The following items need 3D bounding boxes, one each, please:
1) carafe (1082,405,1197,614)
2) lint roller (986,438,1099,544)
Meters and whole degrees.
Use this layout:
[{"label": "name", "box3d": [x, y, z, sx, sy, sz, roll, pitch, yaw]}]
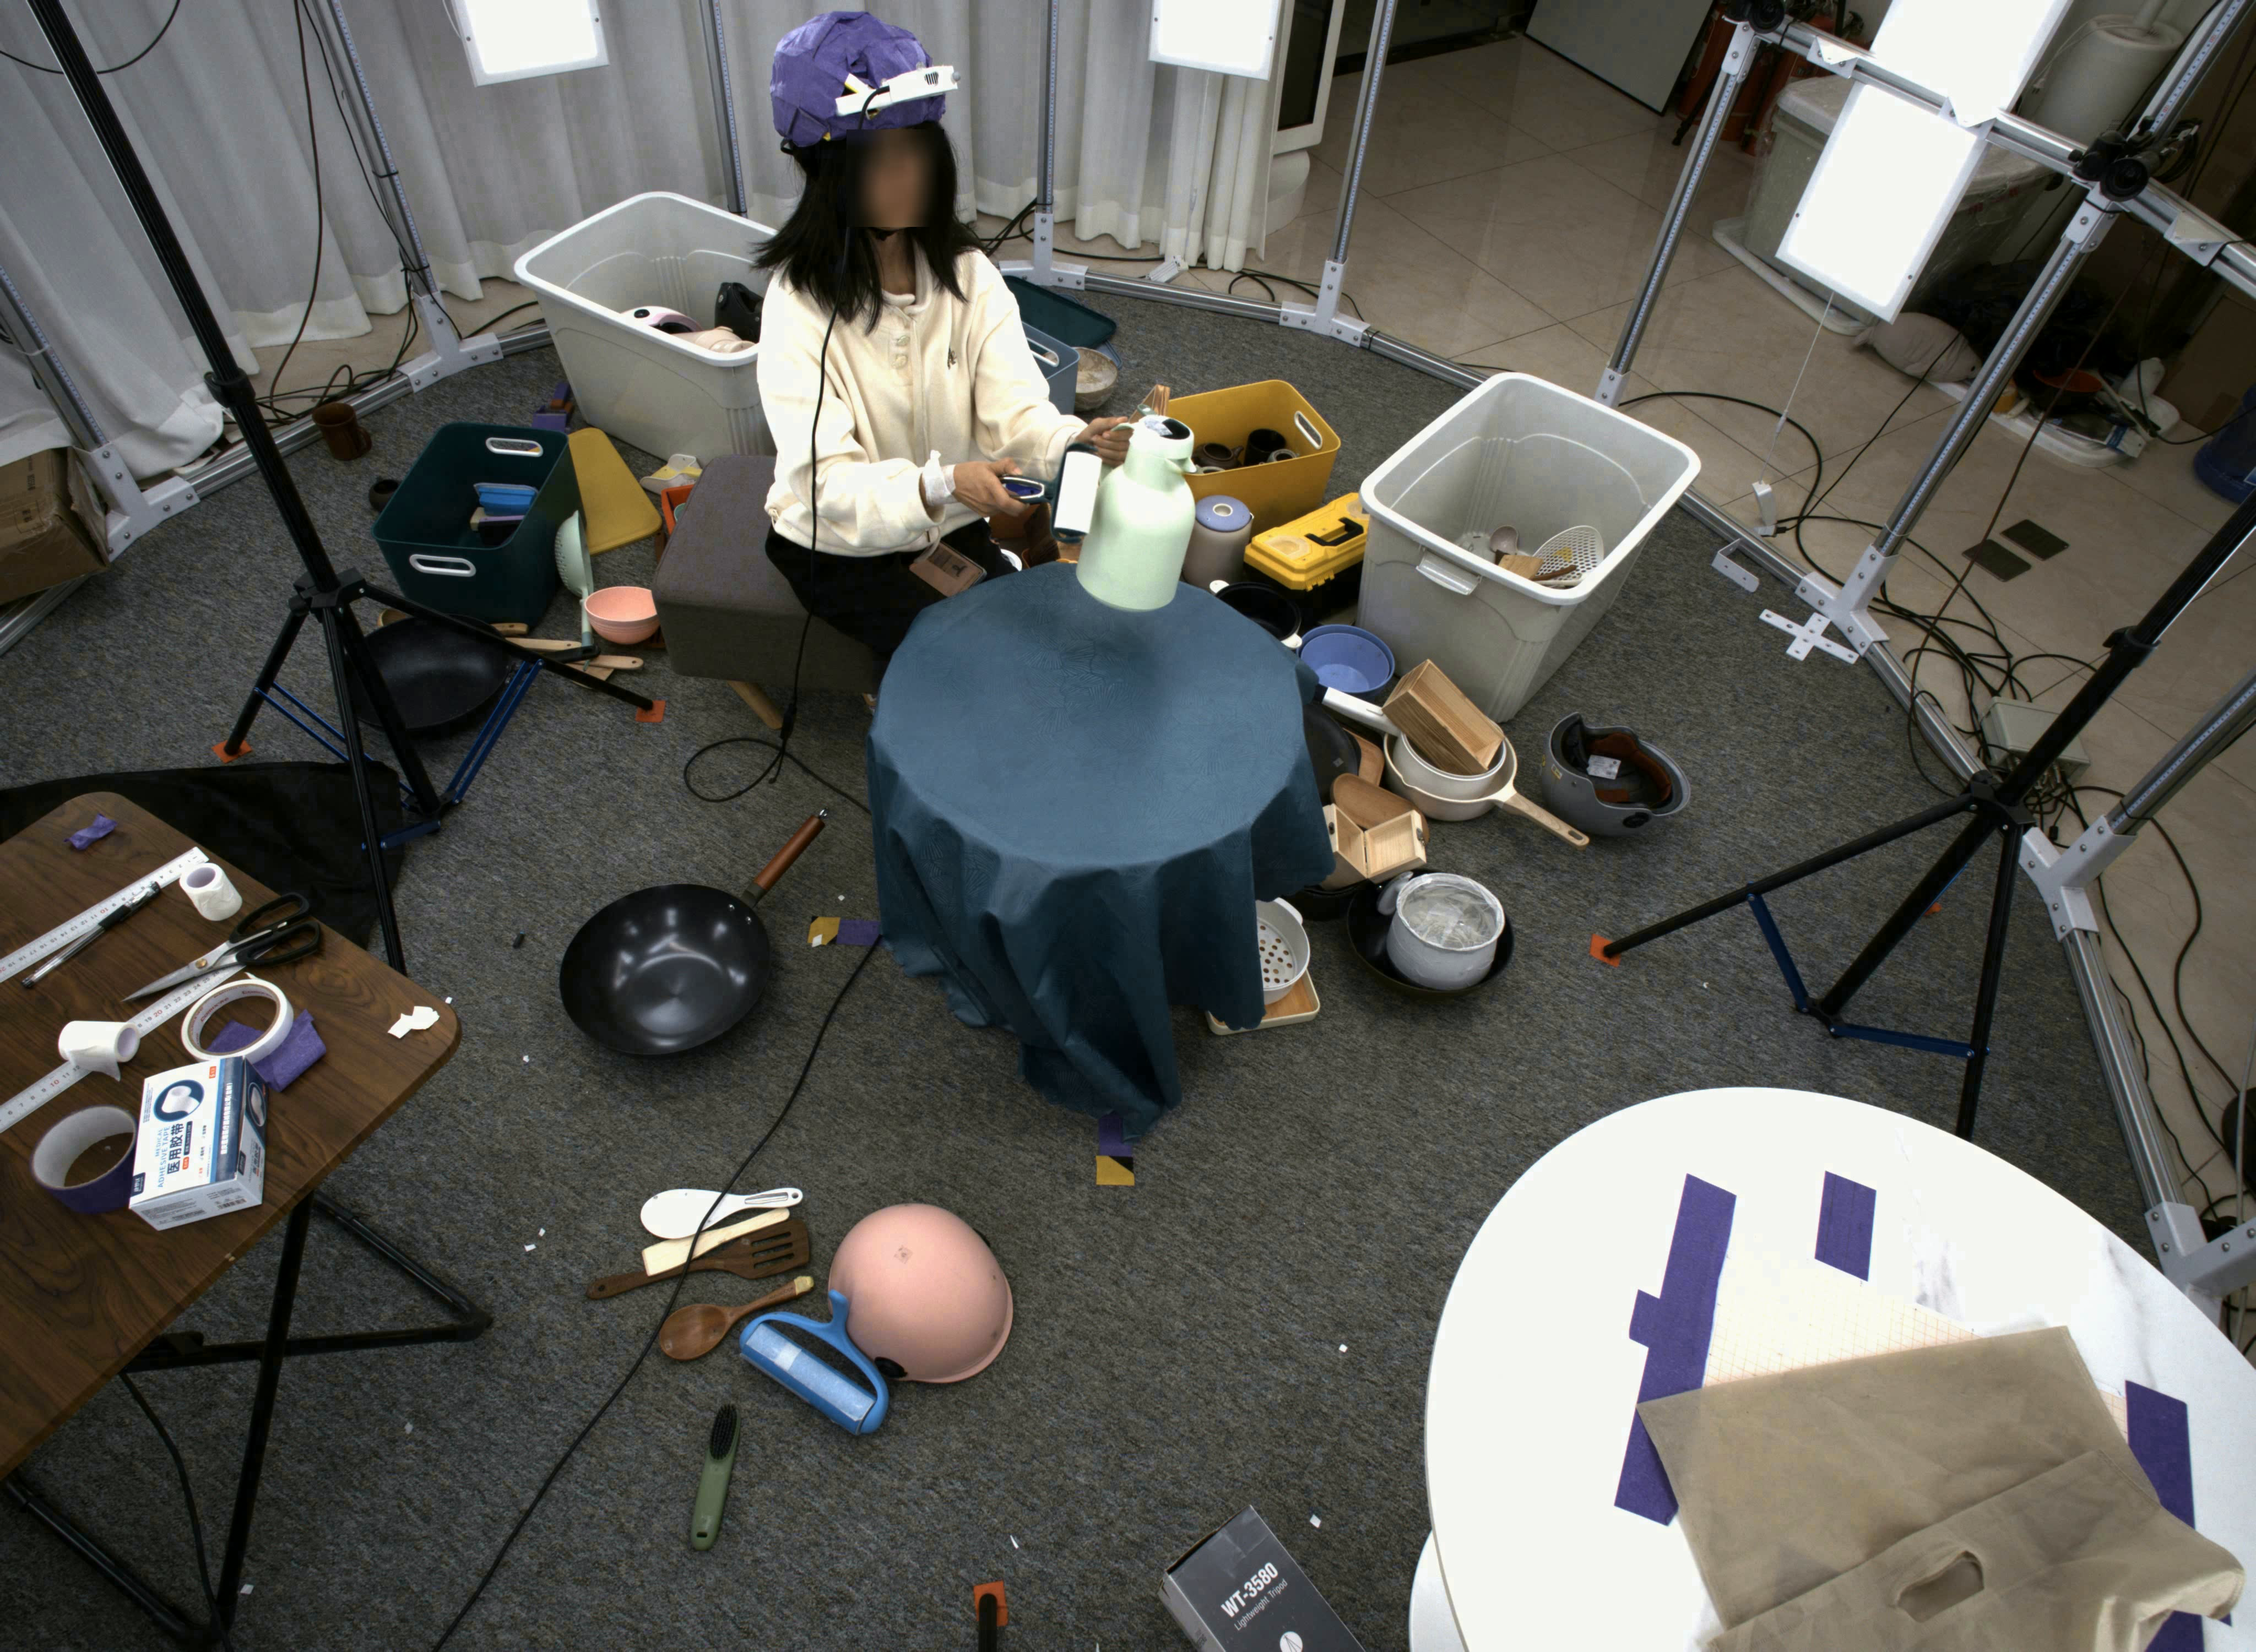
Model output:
[{"label": "carafe", "box3d": [0.018, -0.439, 1.778, 0.144, 0.251, 0.191, -14, 44, -30]}, {"label": "lint roller", "box3d": [-0.126, -0.451, 1.721, 0.181, 0.134, 0.048, 13, 3, 29]}]
